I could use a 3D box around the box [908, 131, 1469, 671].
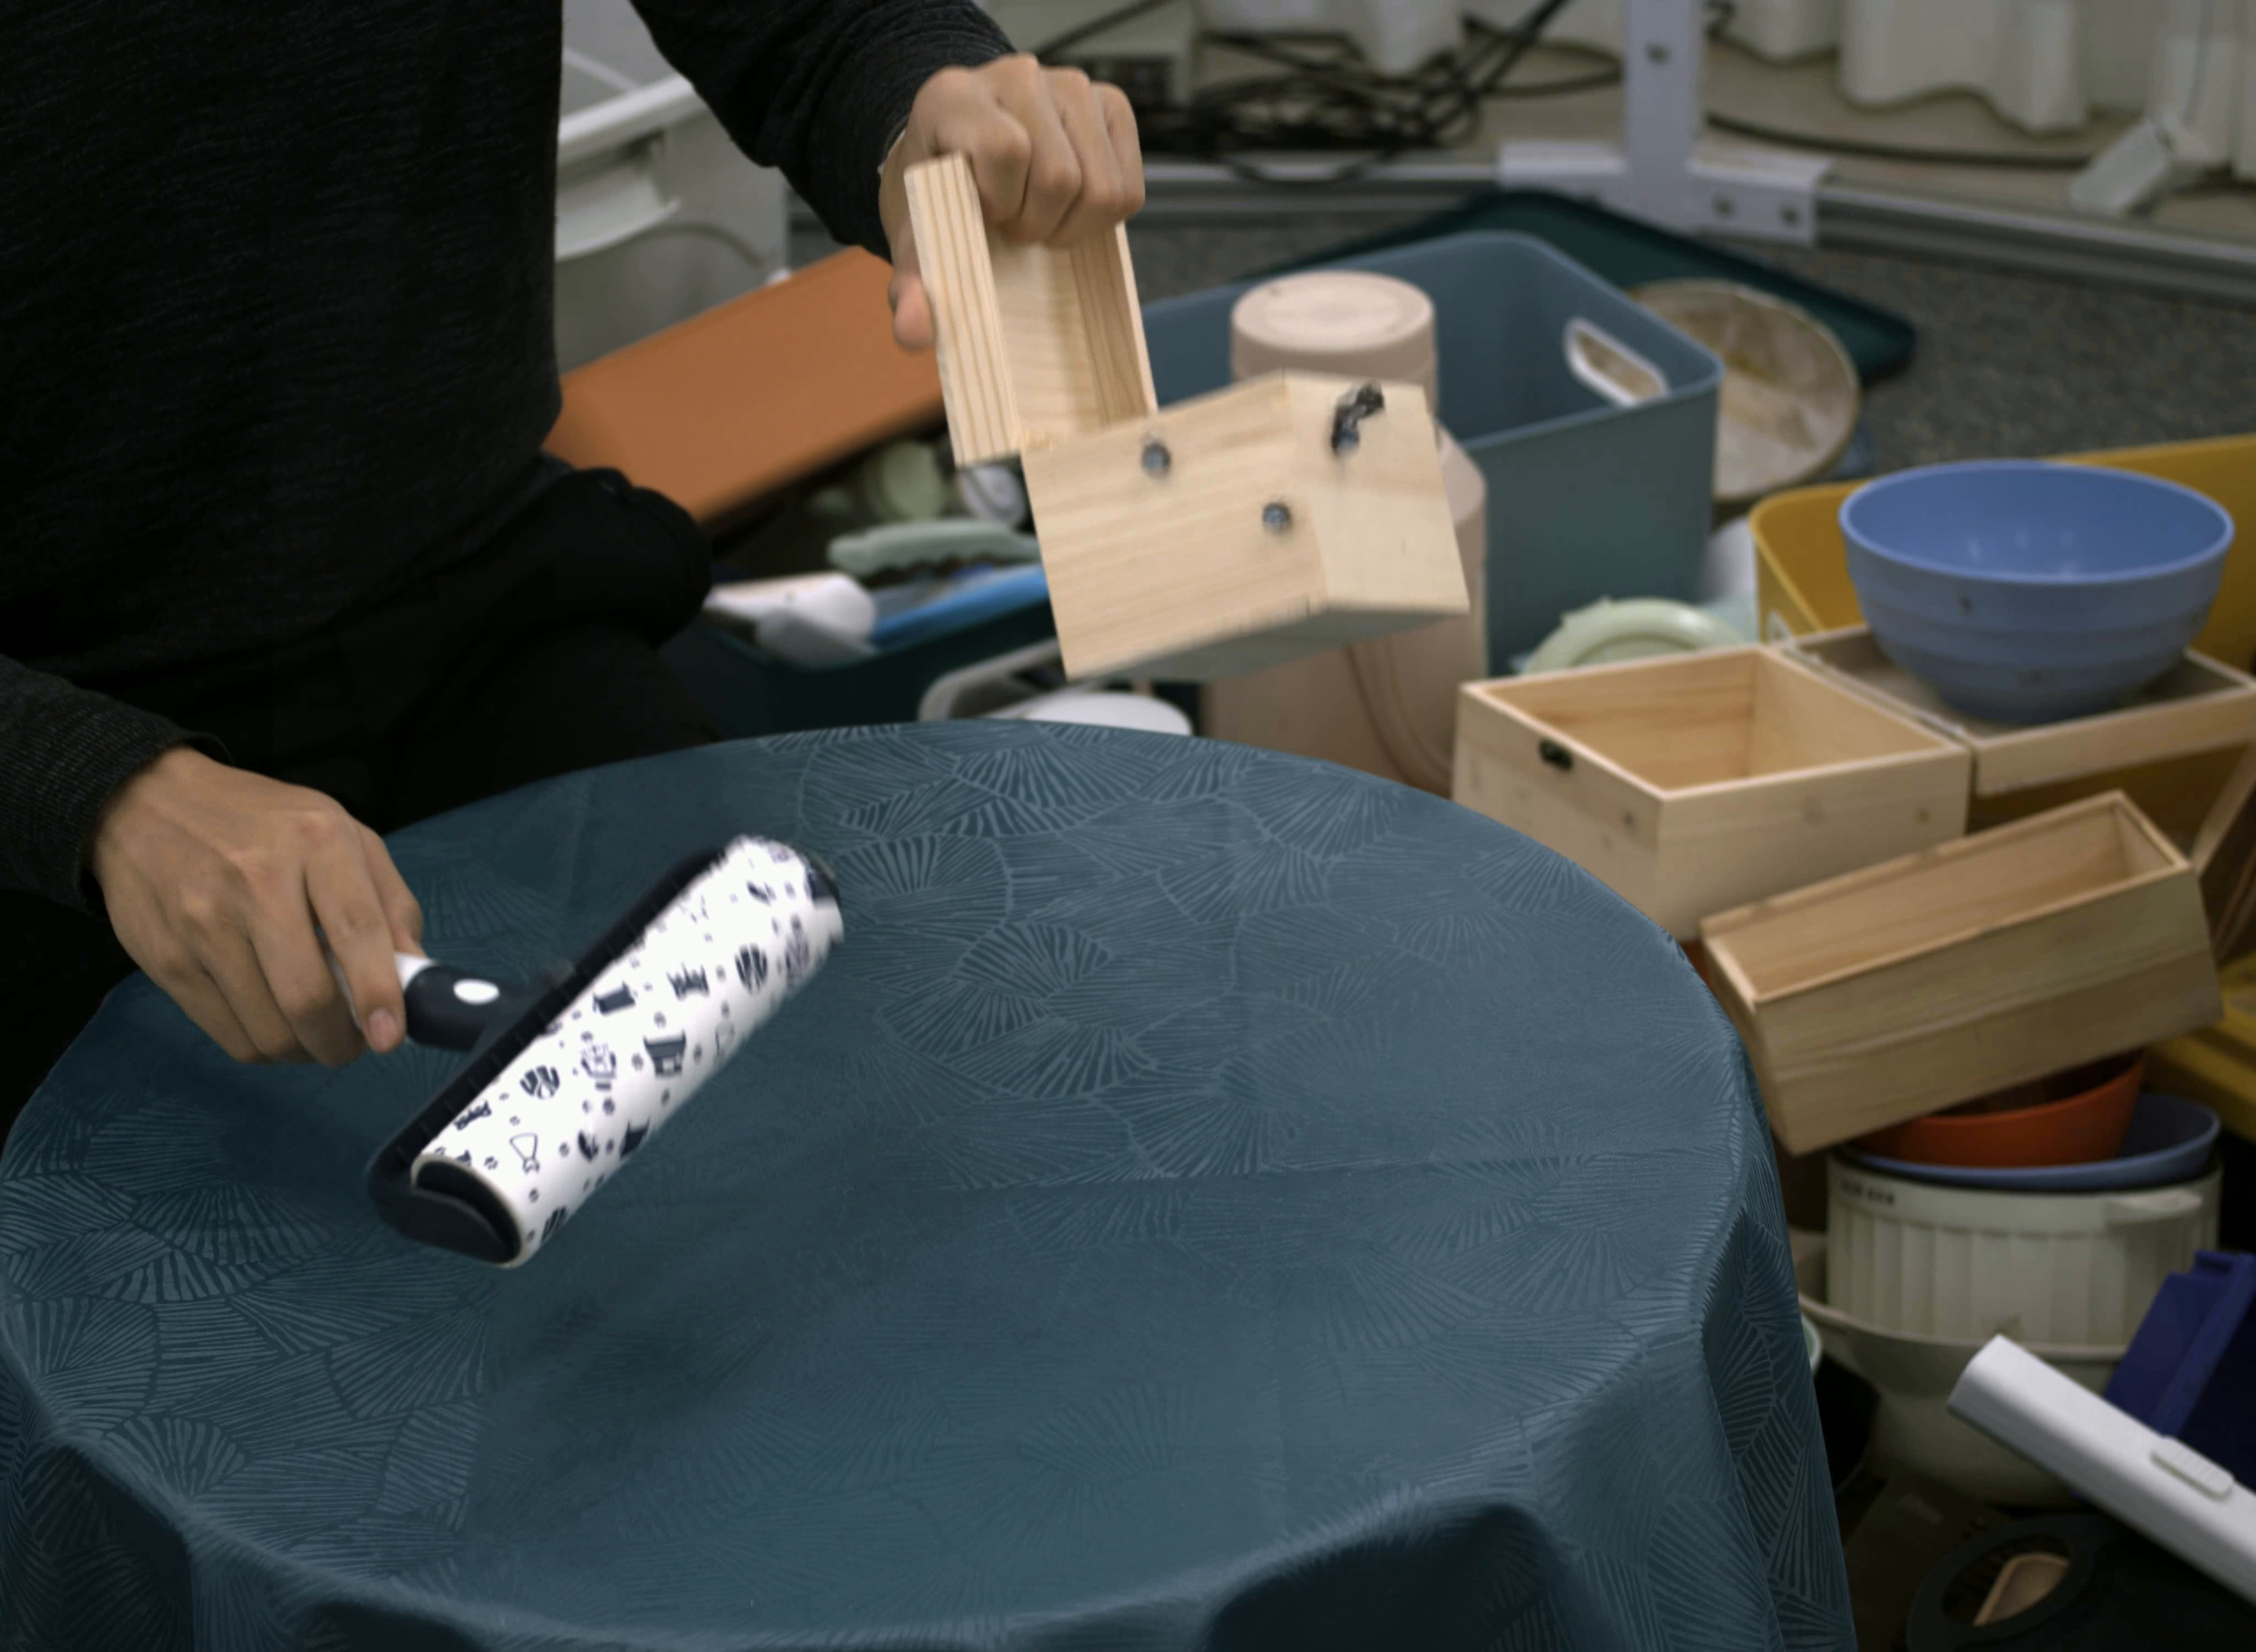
[{"bbox_3d":[0.021,-0.153,1.872,0.132,0.186,0.103,-17,-11,28],"label":"box"}]

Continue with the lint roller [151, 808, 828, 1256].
[{"bbox_3d":[-0.234,0.051,1.813,0.245,0.050,0.179,9,45,37],"label":"lint roller"}]
